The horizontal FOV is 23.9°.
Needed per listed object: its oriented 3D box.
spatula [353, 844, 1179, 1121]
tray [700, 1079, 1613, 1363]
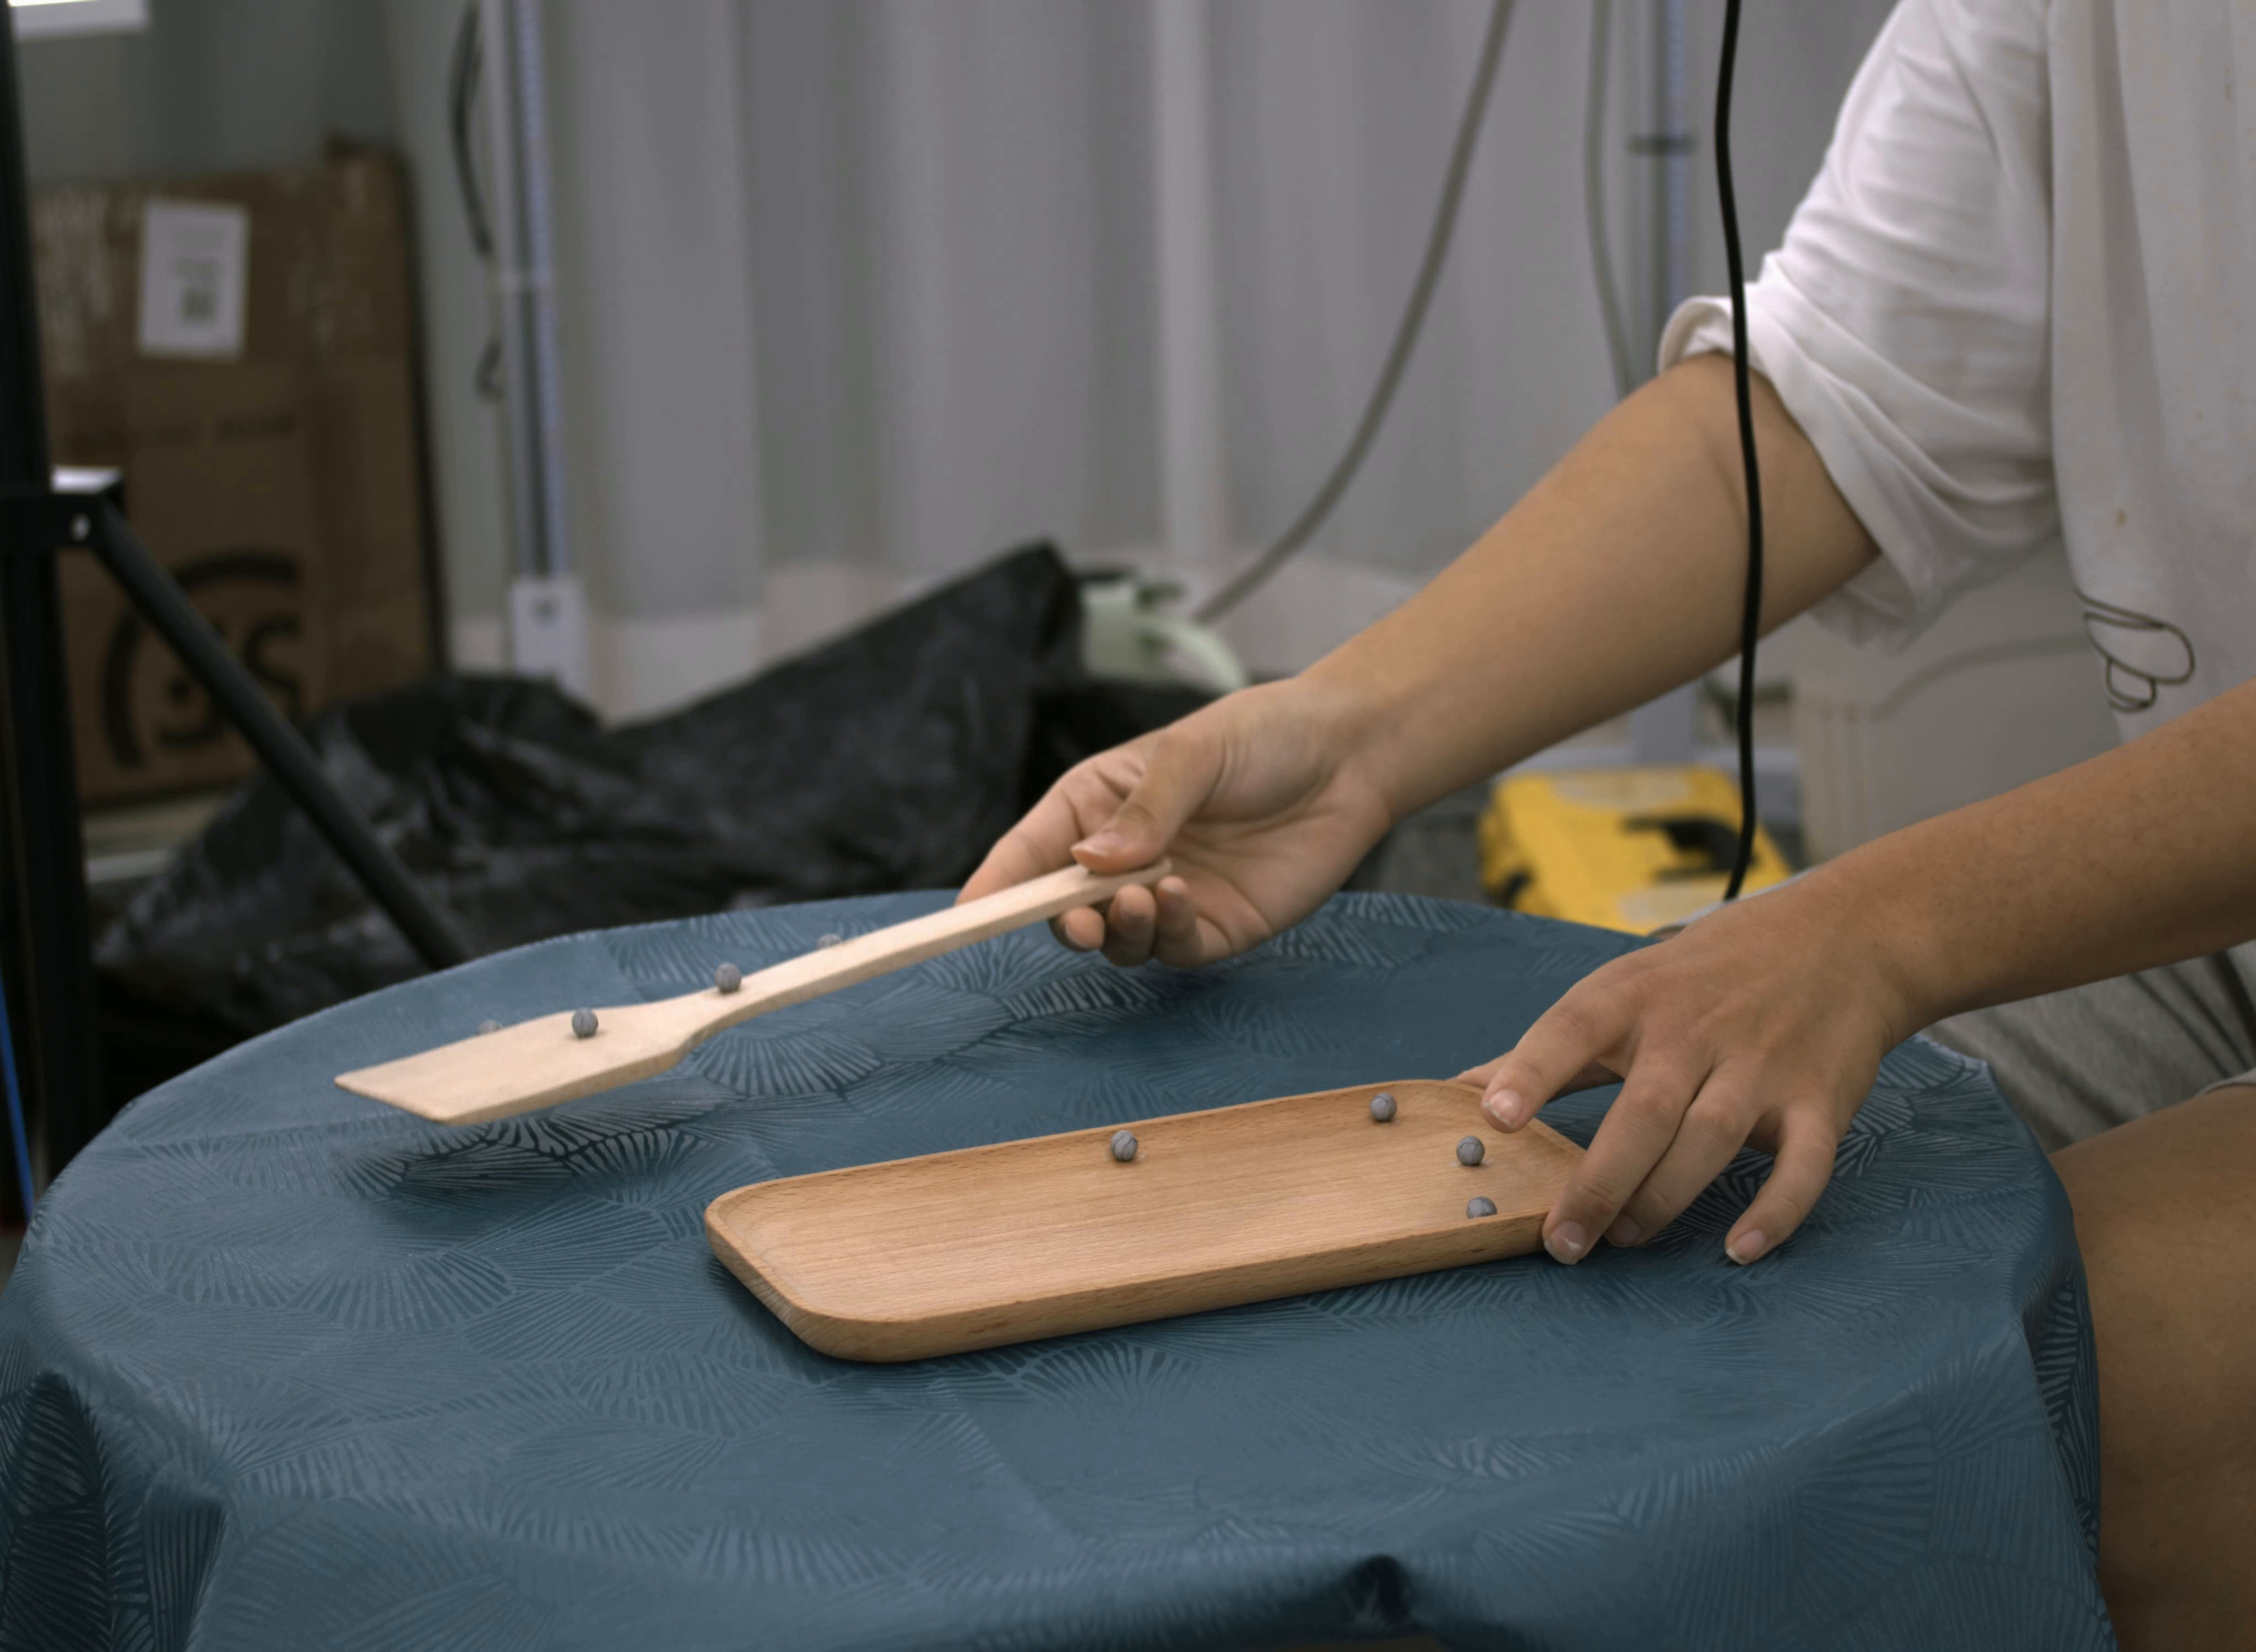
[{"bbox_3d":[-0.102,0.046,1.666,0.287,0.010,0.074,-18,18,-33],"label":"spatula"},{"bbox_3d":[0.009,0.112,1.517,0.246,0.023,0.133,-8,14,-18],"label":"tray"}]
